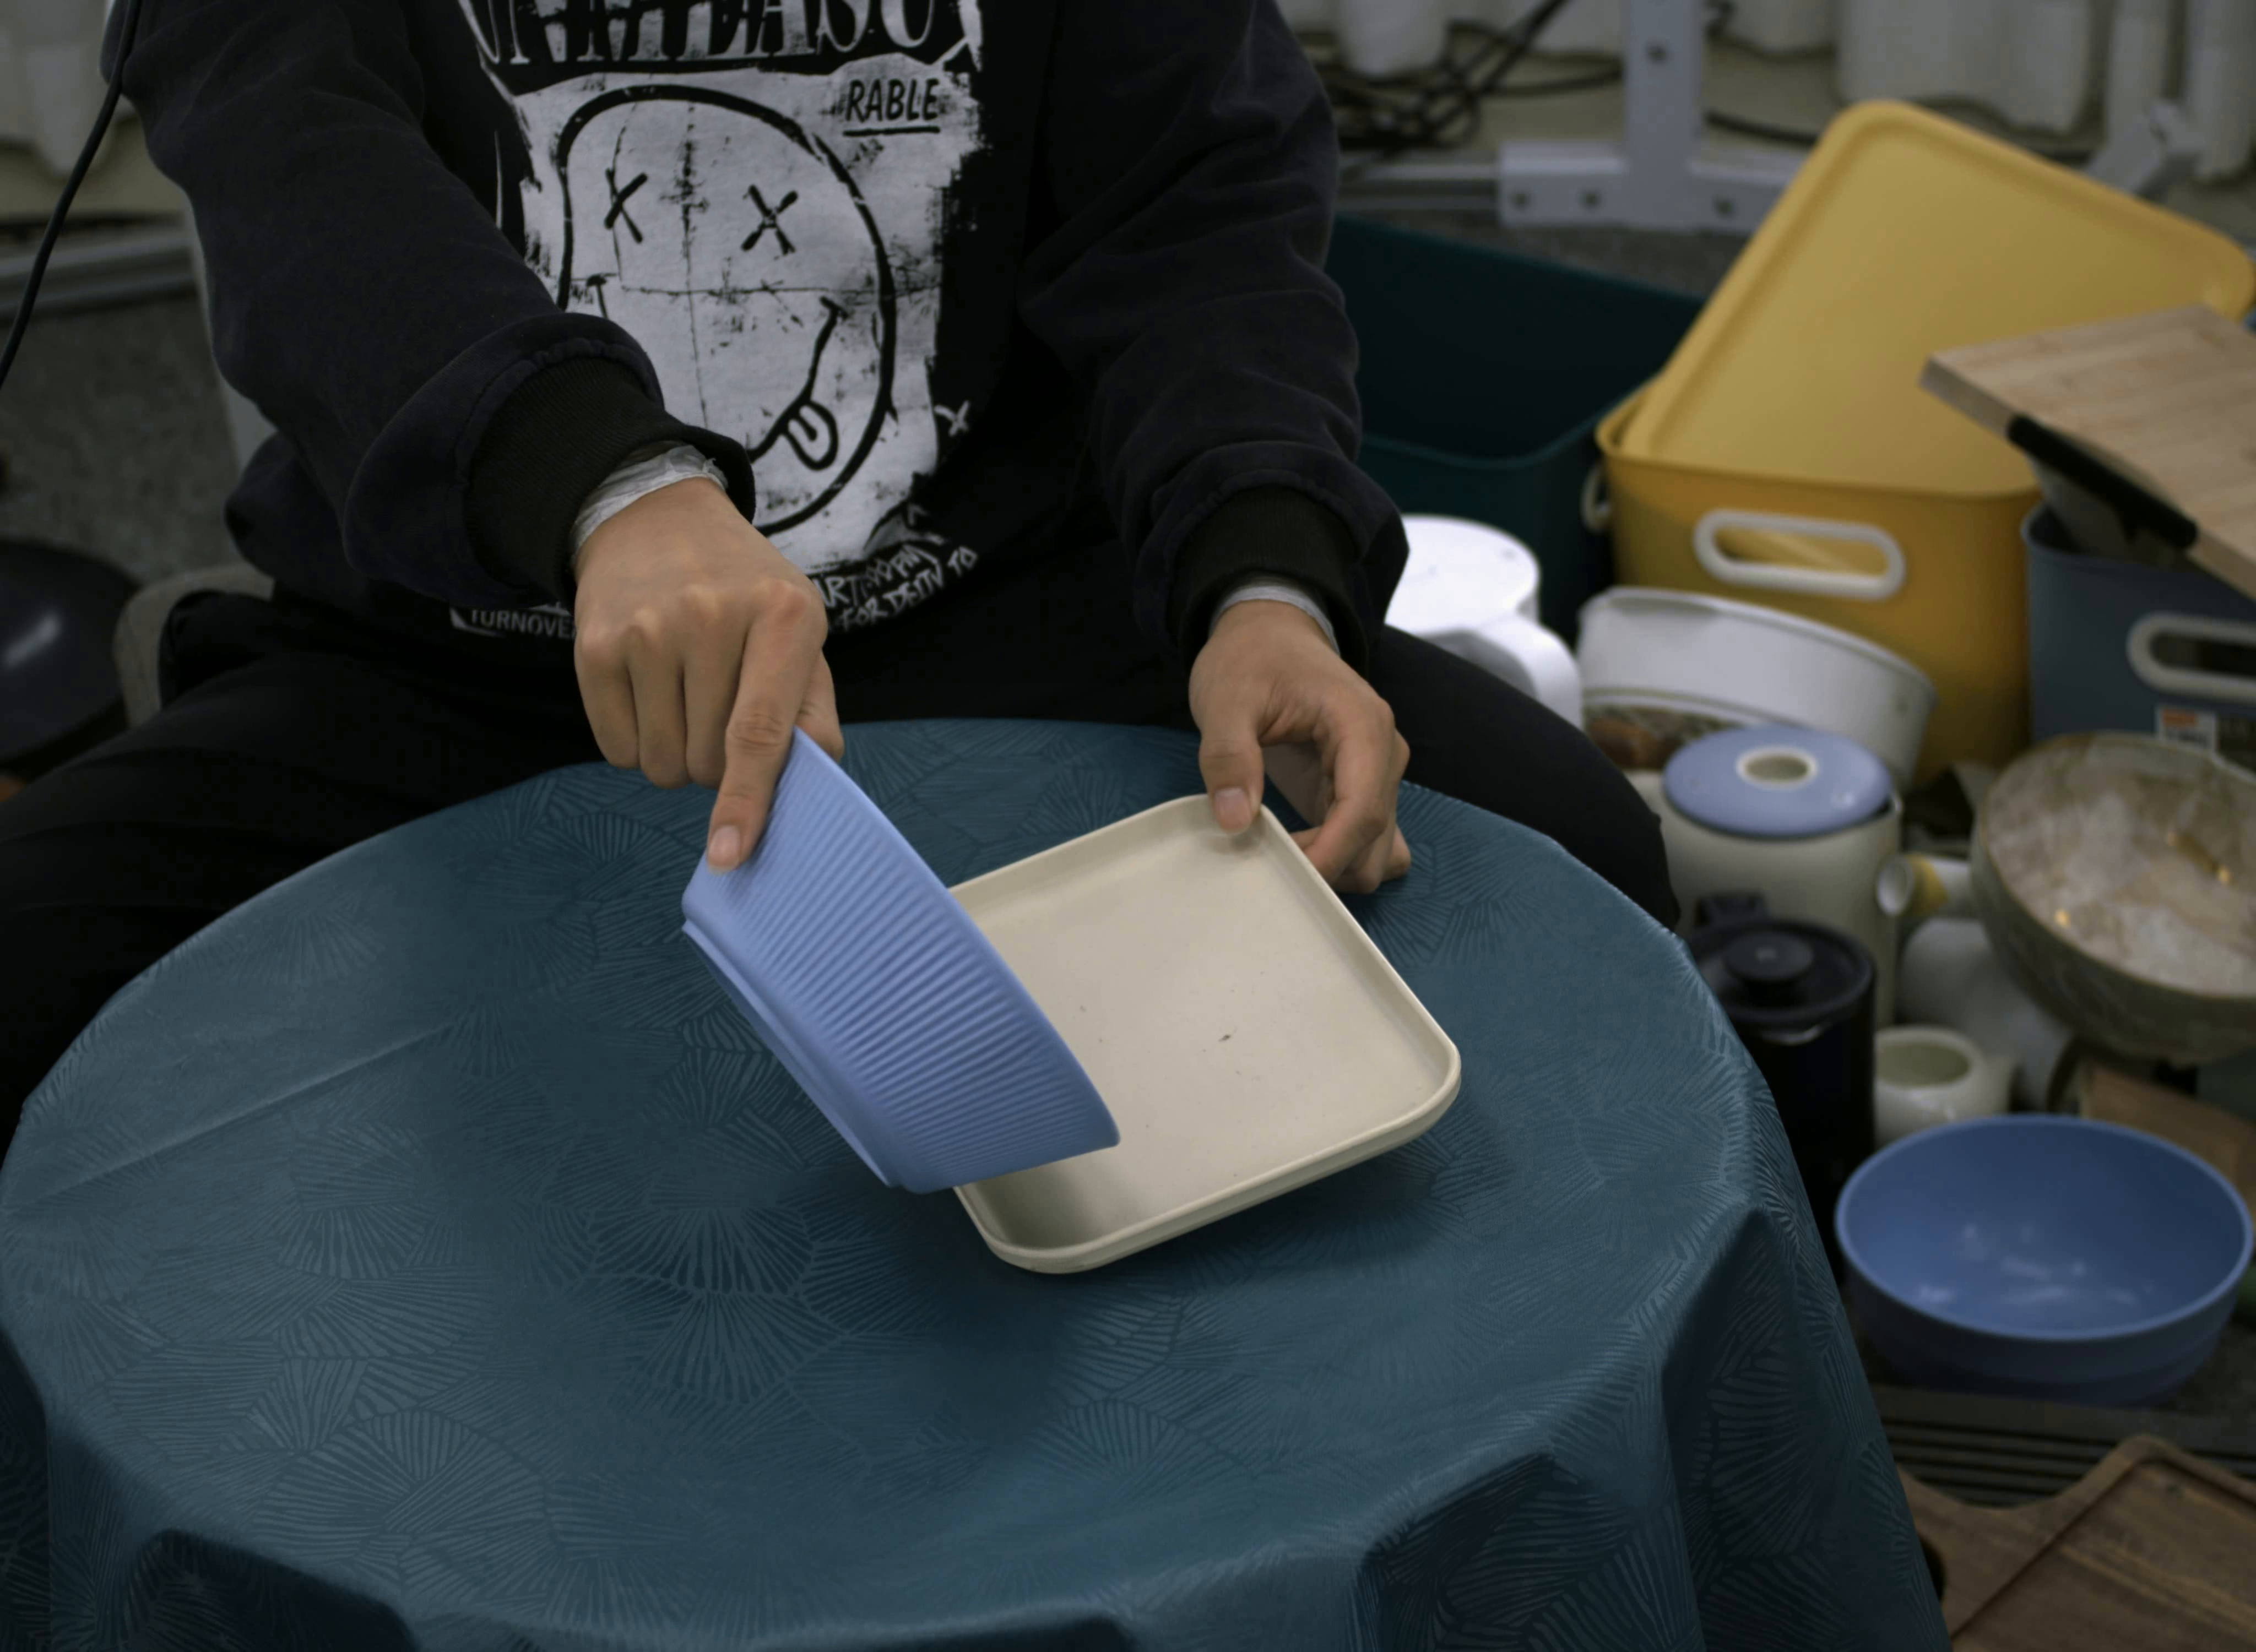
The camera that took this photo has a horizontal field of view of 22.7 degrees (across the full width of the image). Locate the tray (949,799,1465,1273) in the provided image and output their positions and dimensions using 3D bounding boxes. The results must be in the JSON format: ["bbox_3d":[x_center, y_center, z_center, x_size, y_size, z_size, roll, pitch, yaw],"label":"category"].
[{"bbox_3d":[0.004,0.070,1.913,0.171,0.017,0.242,-20,30,-10],"label":"tray"}]

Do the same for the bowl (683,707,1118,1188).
[{"bbox_3d":[-0.083,0.050,1.797,0.070,0.174,0.177,-38,36,-8],"label":"bowl"}]
